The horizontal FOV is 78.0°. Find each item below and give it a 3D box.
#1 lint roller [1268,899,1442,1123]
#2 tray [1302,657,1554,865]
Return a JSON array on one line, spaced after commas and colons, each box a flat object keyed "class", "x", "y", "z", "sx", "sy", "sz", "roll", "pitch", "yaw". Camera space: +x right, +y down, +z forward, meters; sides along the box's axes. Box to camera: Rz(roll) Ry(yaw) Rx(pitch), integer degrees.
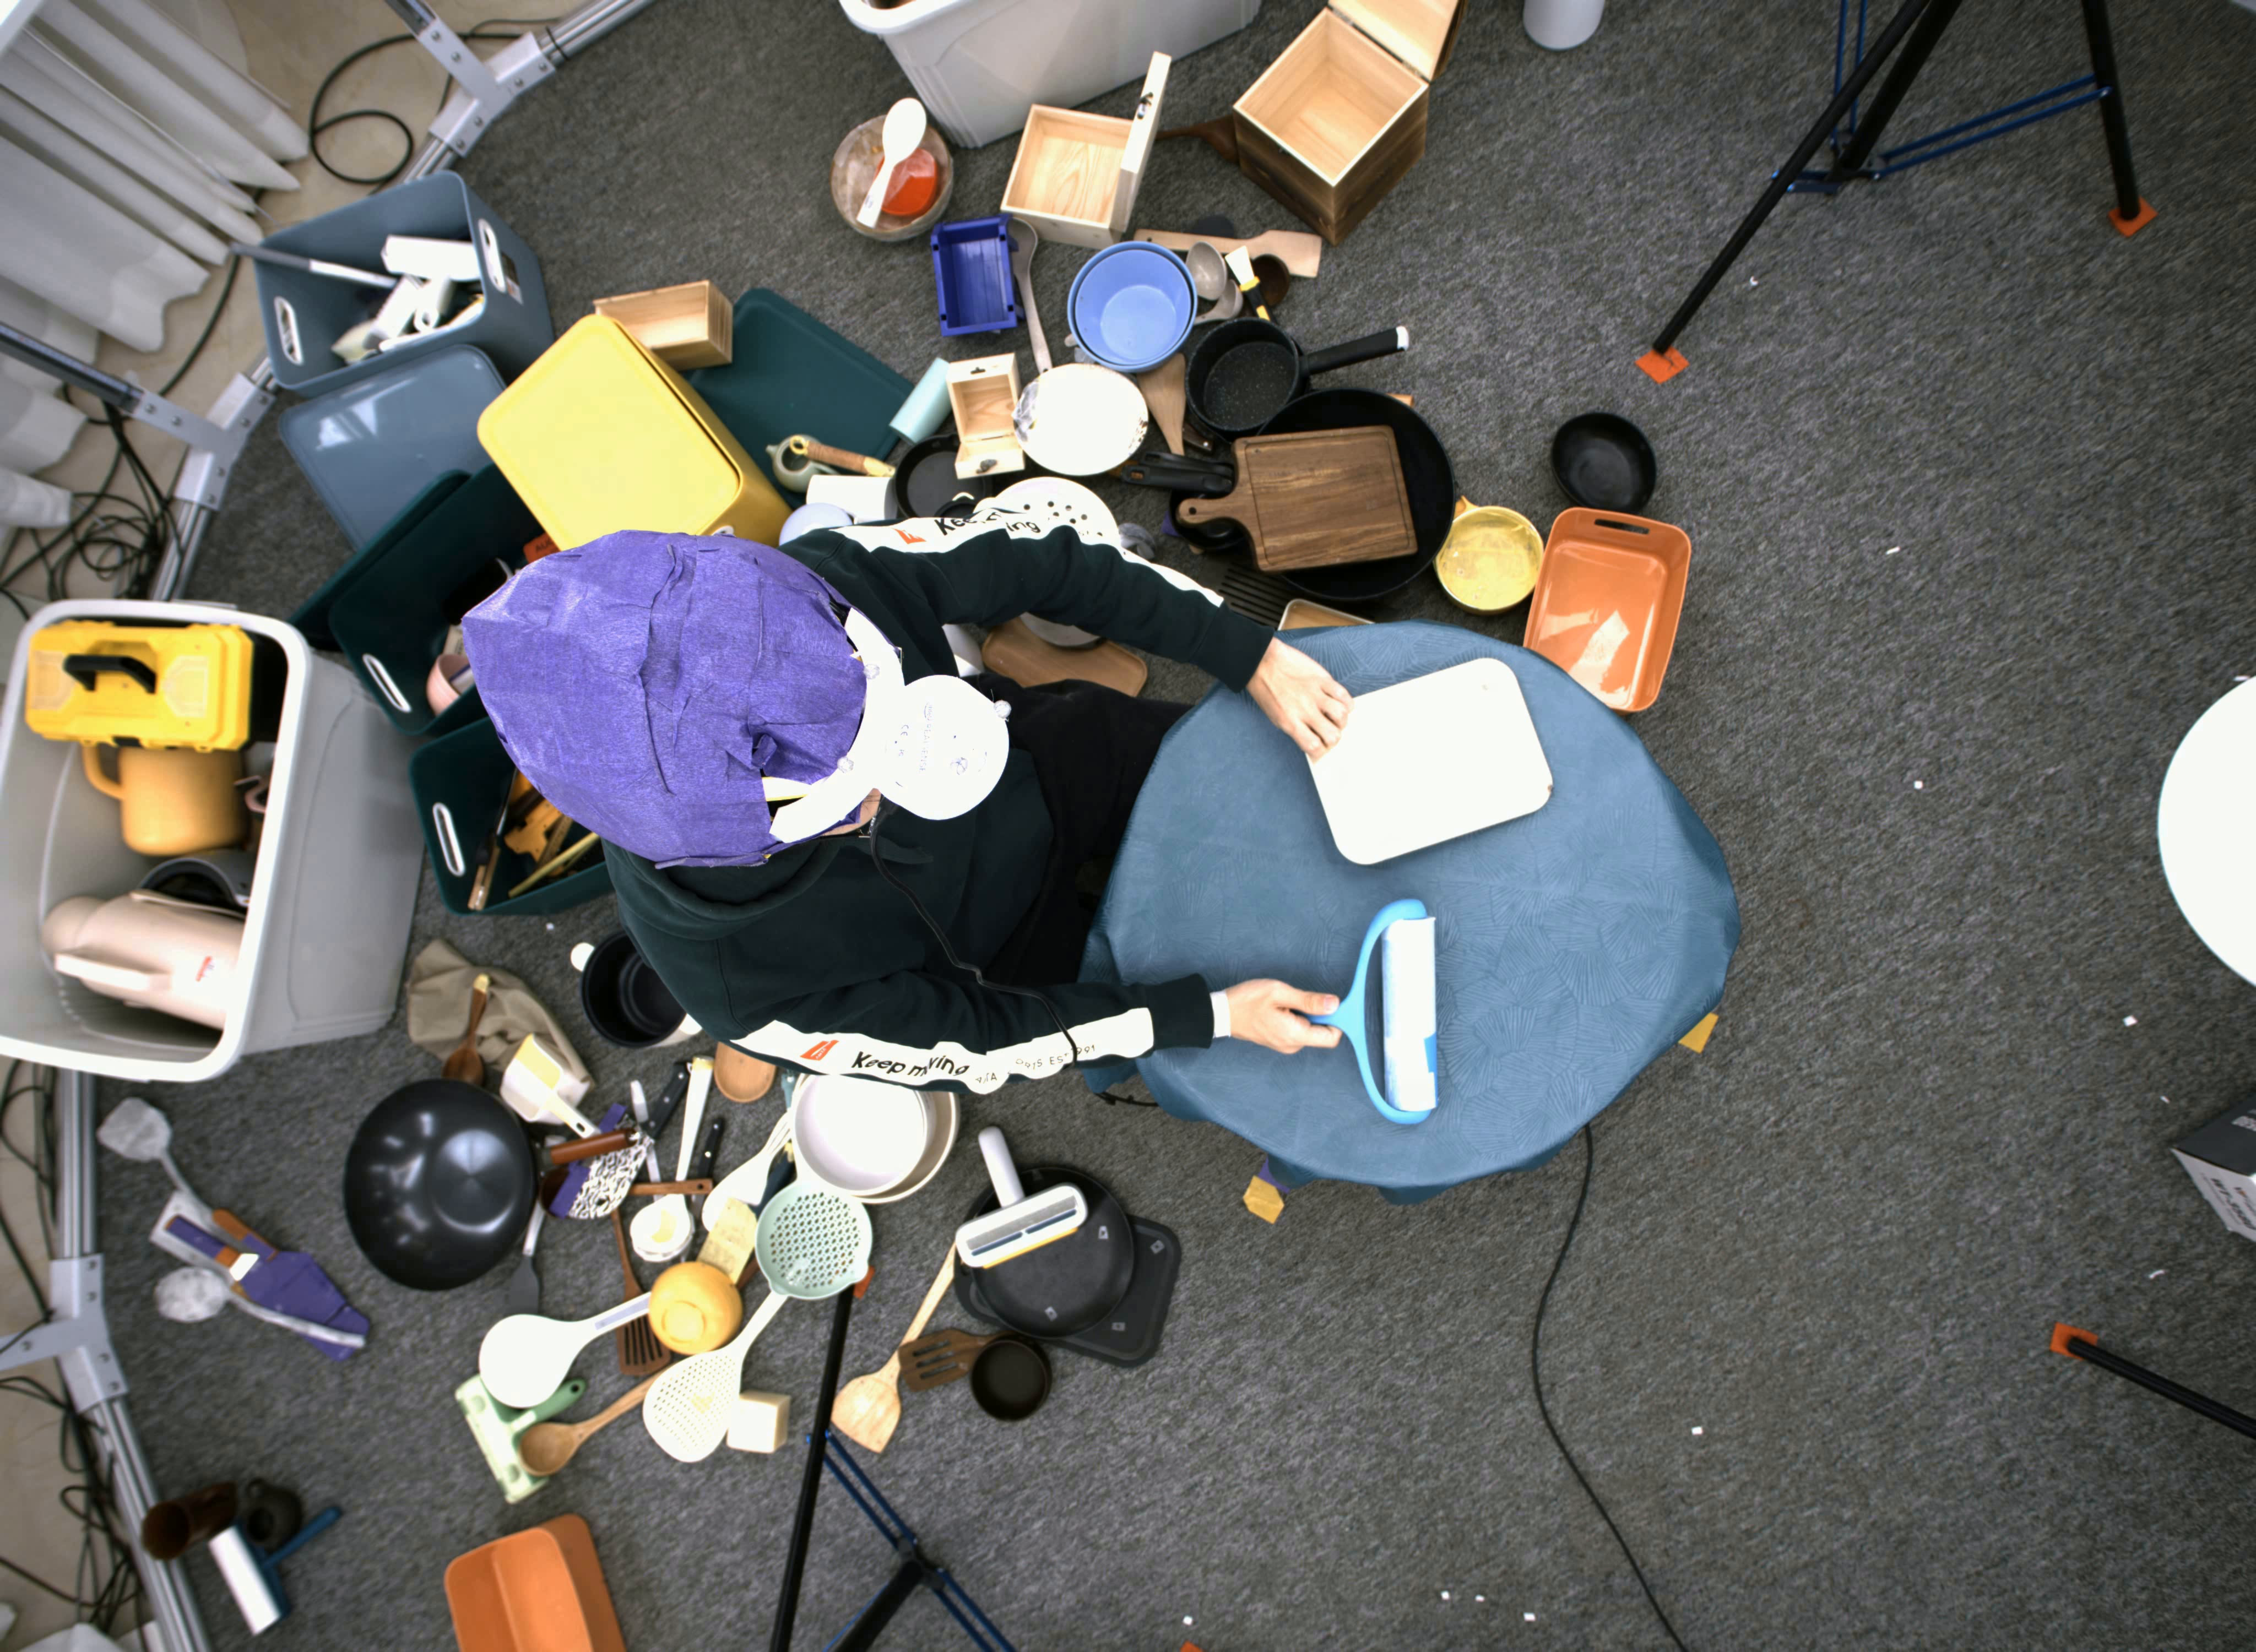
[{"class": "lint roller", "x": 0.230, "y": 0.192, "z": 1.417, "sx": 0.181, "sy": 0.067, "sz": 0.230, "roll": -4, "pitch": 97, "yaw": 13}, {"class": "tray", "x": 0.309, "y": -0.069, "z": 1.423, "sx": 0.239, "sy": 0.017, "sz": 0.170, "roll": -18, "pitch": 86, "yaw": -3}]
